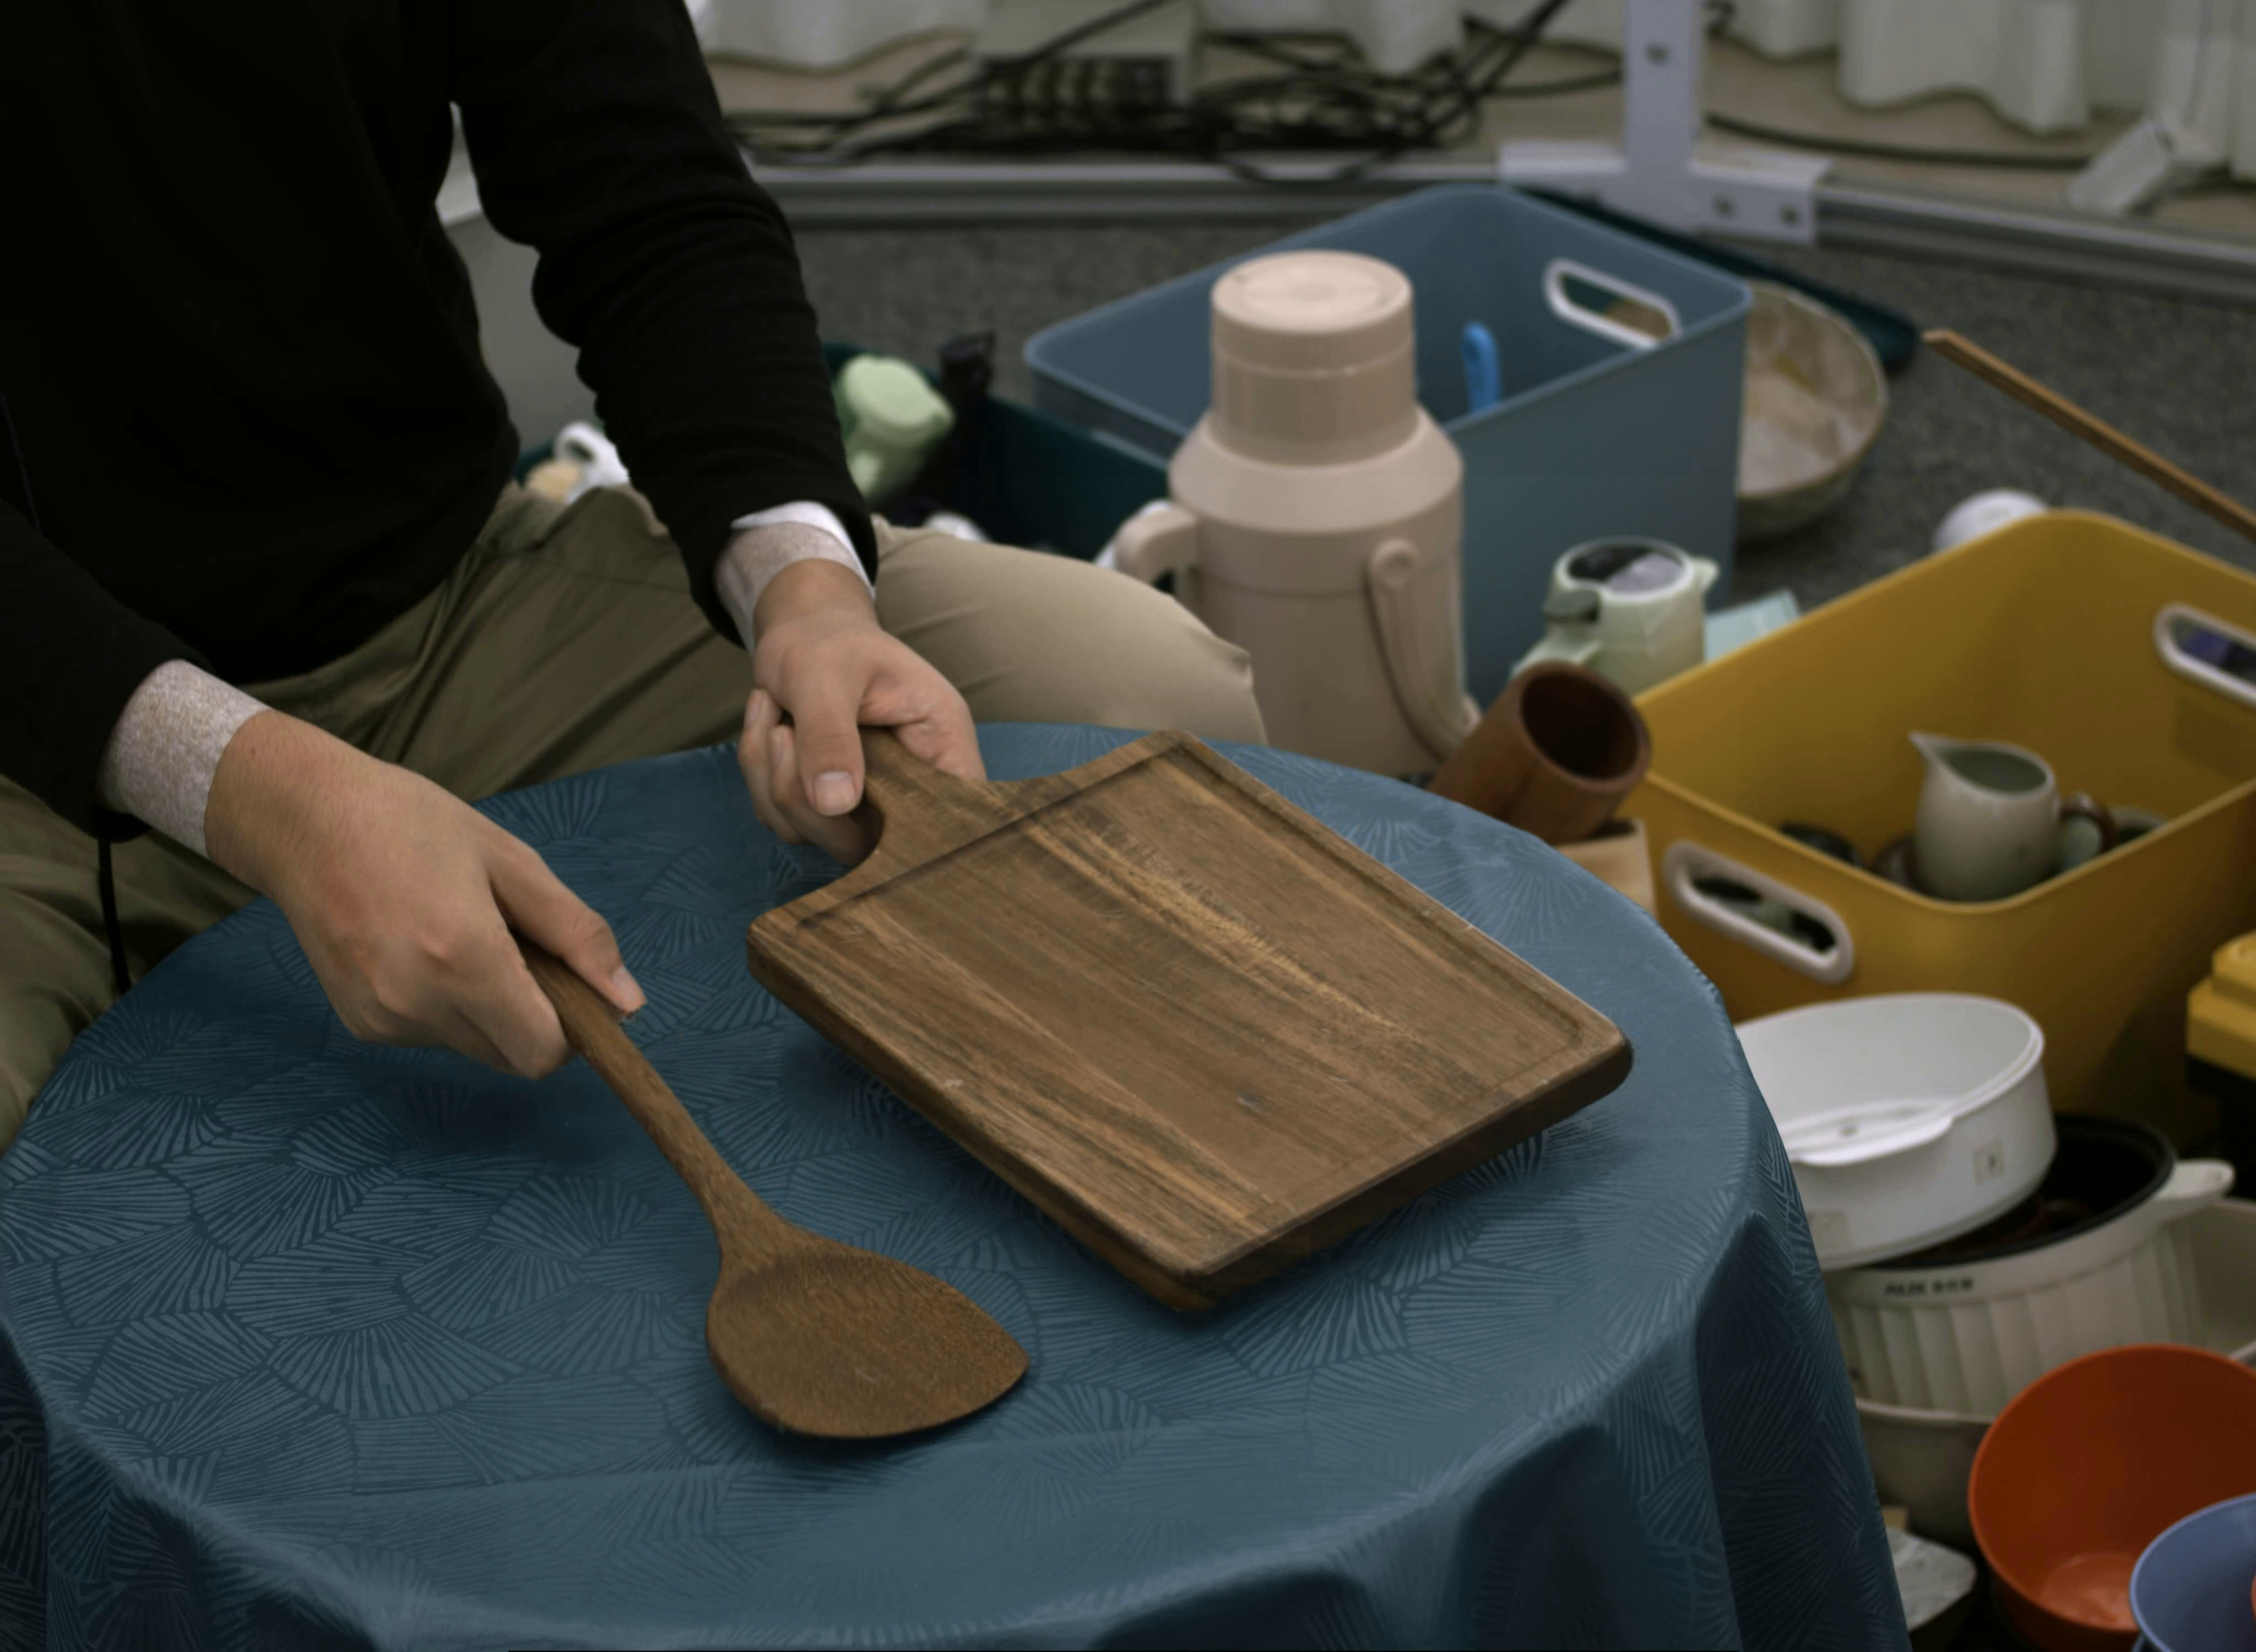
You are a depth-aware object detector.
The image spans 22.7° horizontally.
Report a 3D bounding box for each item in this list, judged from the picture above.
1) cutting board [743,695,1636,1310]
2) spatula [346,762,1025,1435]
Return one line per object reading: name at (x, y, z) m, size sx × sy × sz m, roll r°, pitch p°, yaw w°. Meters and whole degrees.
cutting board at (-0.012, 0.037, 1.935) m, size 0.203 × 0.023 × 0.353 m, roll -25°, pitch 41°, yaw -31°
spatula at (-0.166, 0.081, 1.859) m, size 0.096 × 0.015 × 0.389 m, roll -10°, pitch 39°, yaw -34°
